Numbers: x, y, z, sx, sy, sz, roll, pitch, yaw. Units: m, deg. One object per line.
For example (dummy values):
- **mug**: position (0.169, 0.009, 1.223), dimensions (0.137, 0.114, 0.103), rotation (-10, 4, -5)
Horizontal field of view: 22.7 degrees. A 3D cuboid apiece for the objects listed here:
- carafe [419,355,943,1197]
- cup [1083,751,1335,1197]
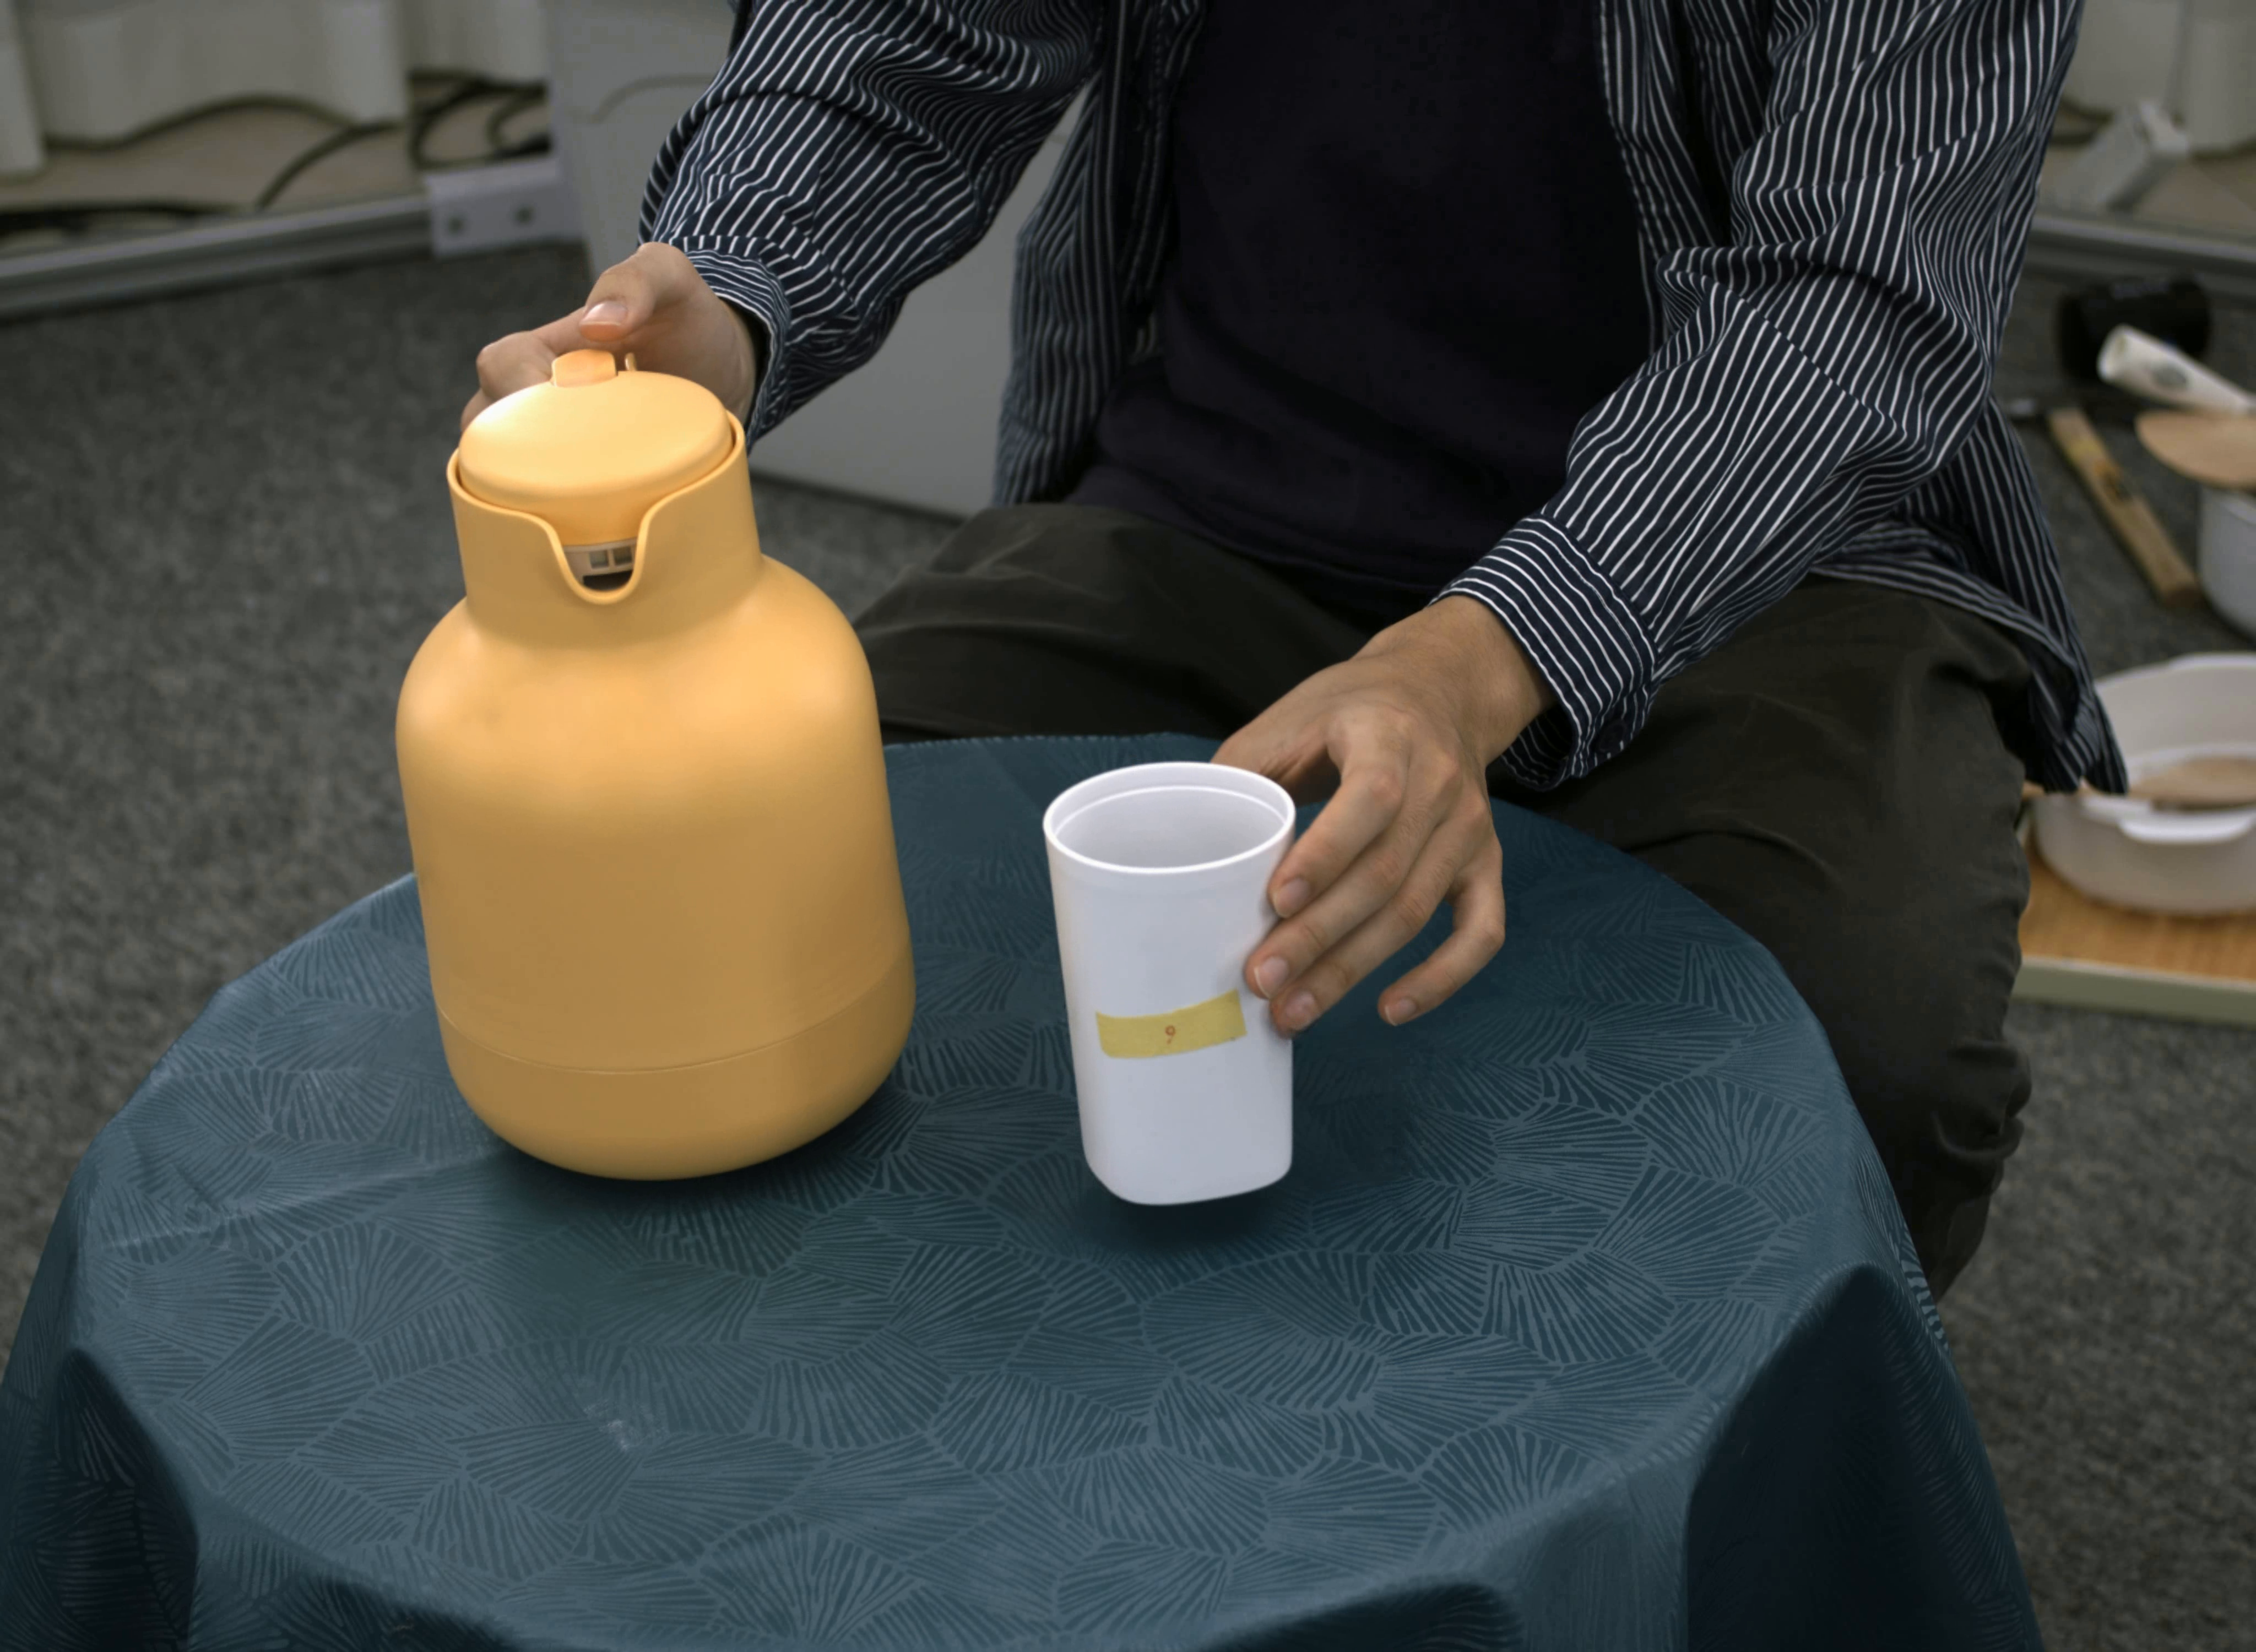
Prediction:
- **carafe**: position (-0.153, -0.026, 1.874), dimensions (0.163, 0.257, 0.205), rotation (-8, 27, -6)
- **cup**: position (0.029, 0.049, 1.815), dimensions (0.081, 0.124, 0.083), rotation (-2, 23, 1)
